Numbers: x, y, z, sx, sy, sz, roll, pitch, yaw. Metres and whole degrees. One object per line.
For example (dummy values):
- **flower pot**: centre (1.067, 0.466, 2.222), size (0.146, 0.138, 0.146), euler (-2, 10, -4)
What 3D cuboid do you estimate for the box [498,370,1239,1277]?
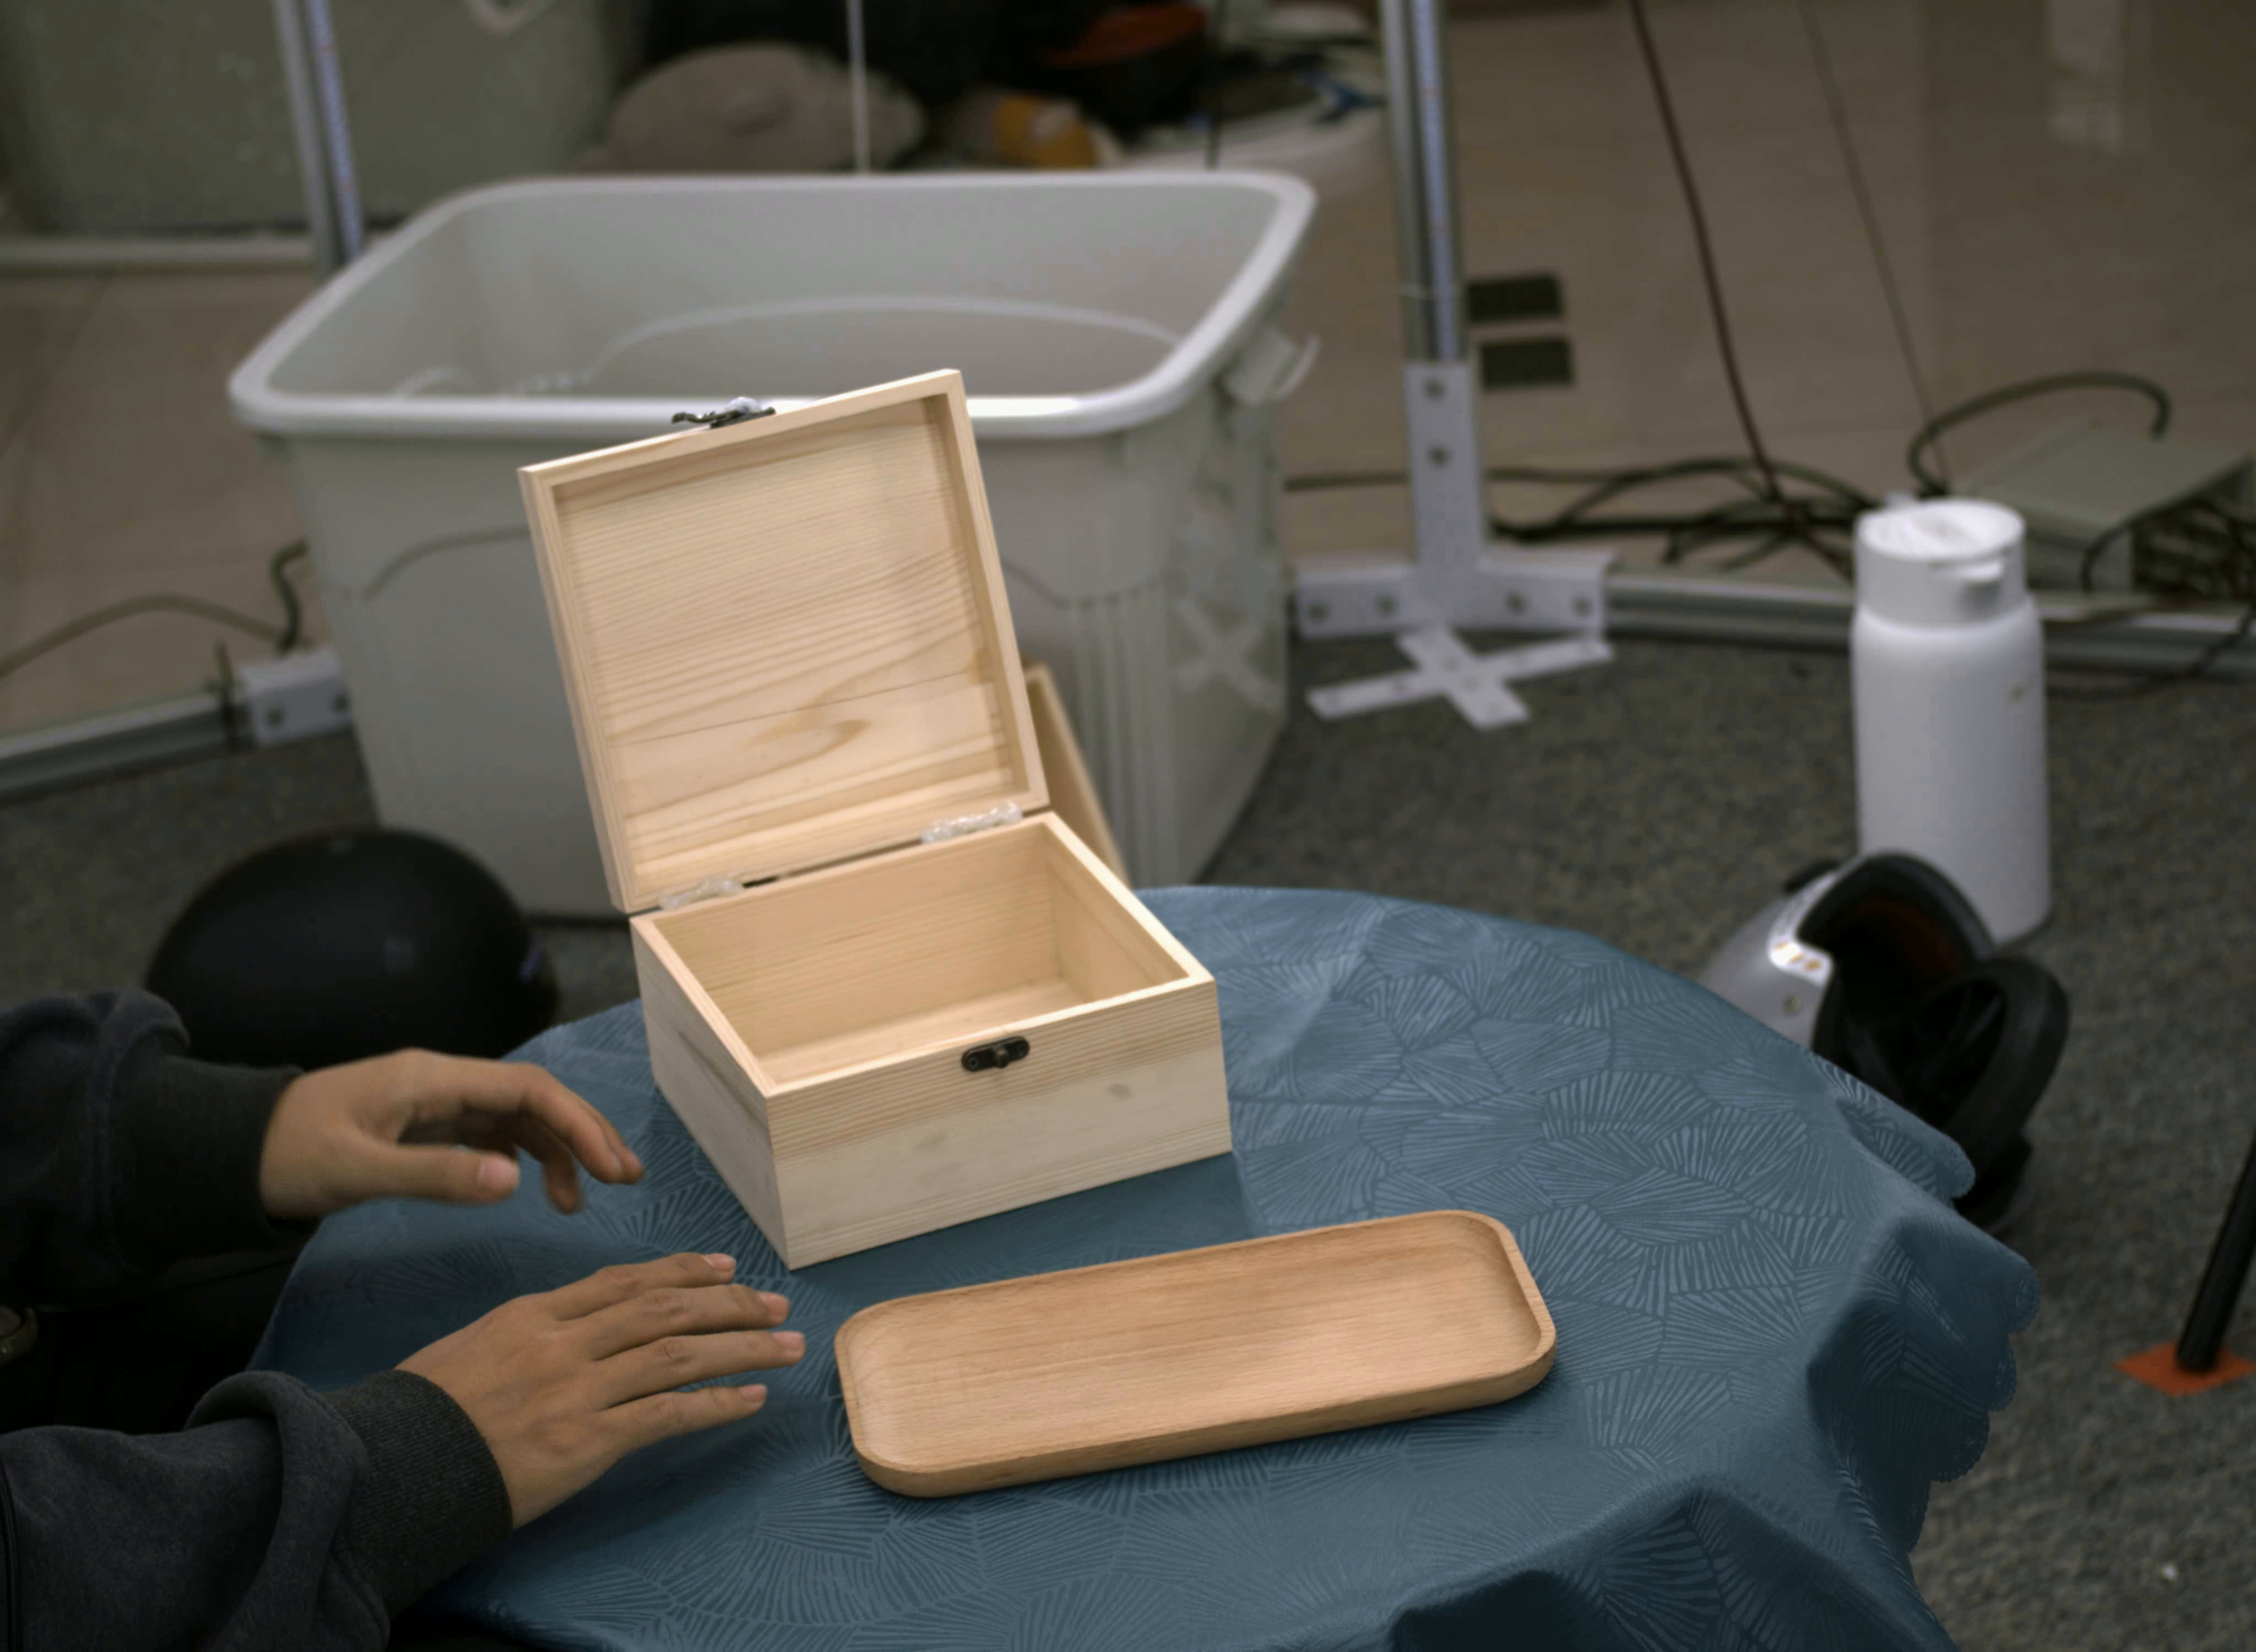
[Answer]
- **box**: centre (-0.102, -0.008, 2.195), size (0.181, 0.257, 0.262), euler (-17, 26, -16)

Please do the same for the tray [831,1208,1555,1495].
- **tray**: centre (0.022, 0.186, 2.018), size (0.250, 0.023, 0.129), euler (-9, 22, -5)
